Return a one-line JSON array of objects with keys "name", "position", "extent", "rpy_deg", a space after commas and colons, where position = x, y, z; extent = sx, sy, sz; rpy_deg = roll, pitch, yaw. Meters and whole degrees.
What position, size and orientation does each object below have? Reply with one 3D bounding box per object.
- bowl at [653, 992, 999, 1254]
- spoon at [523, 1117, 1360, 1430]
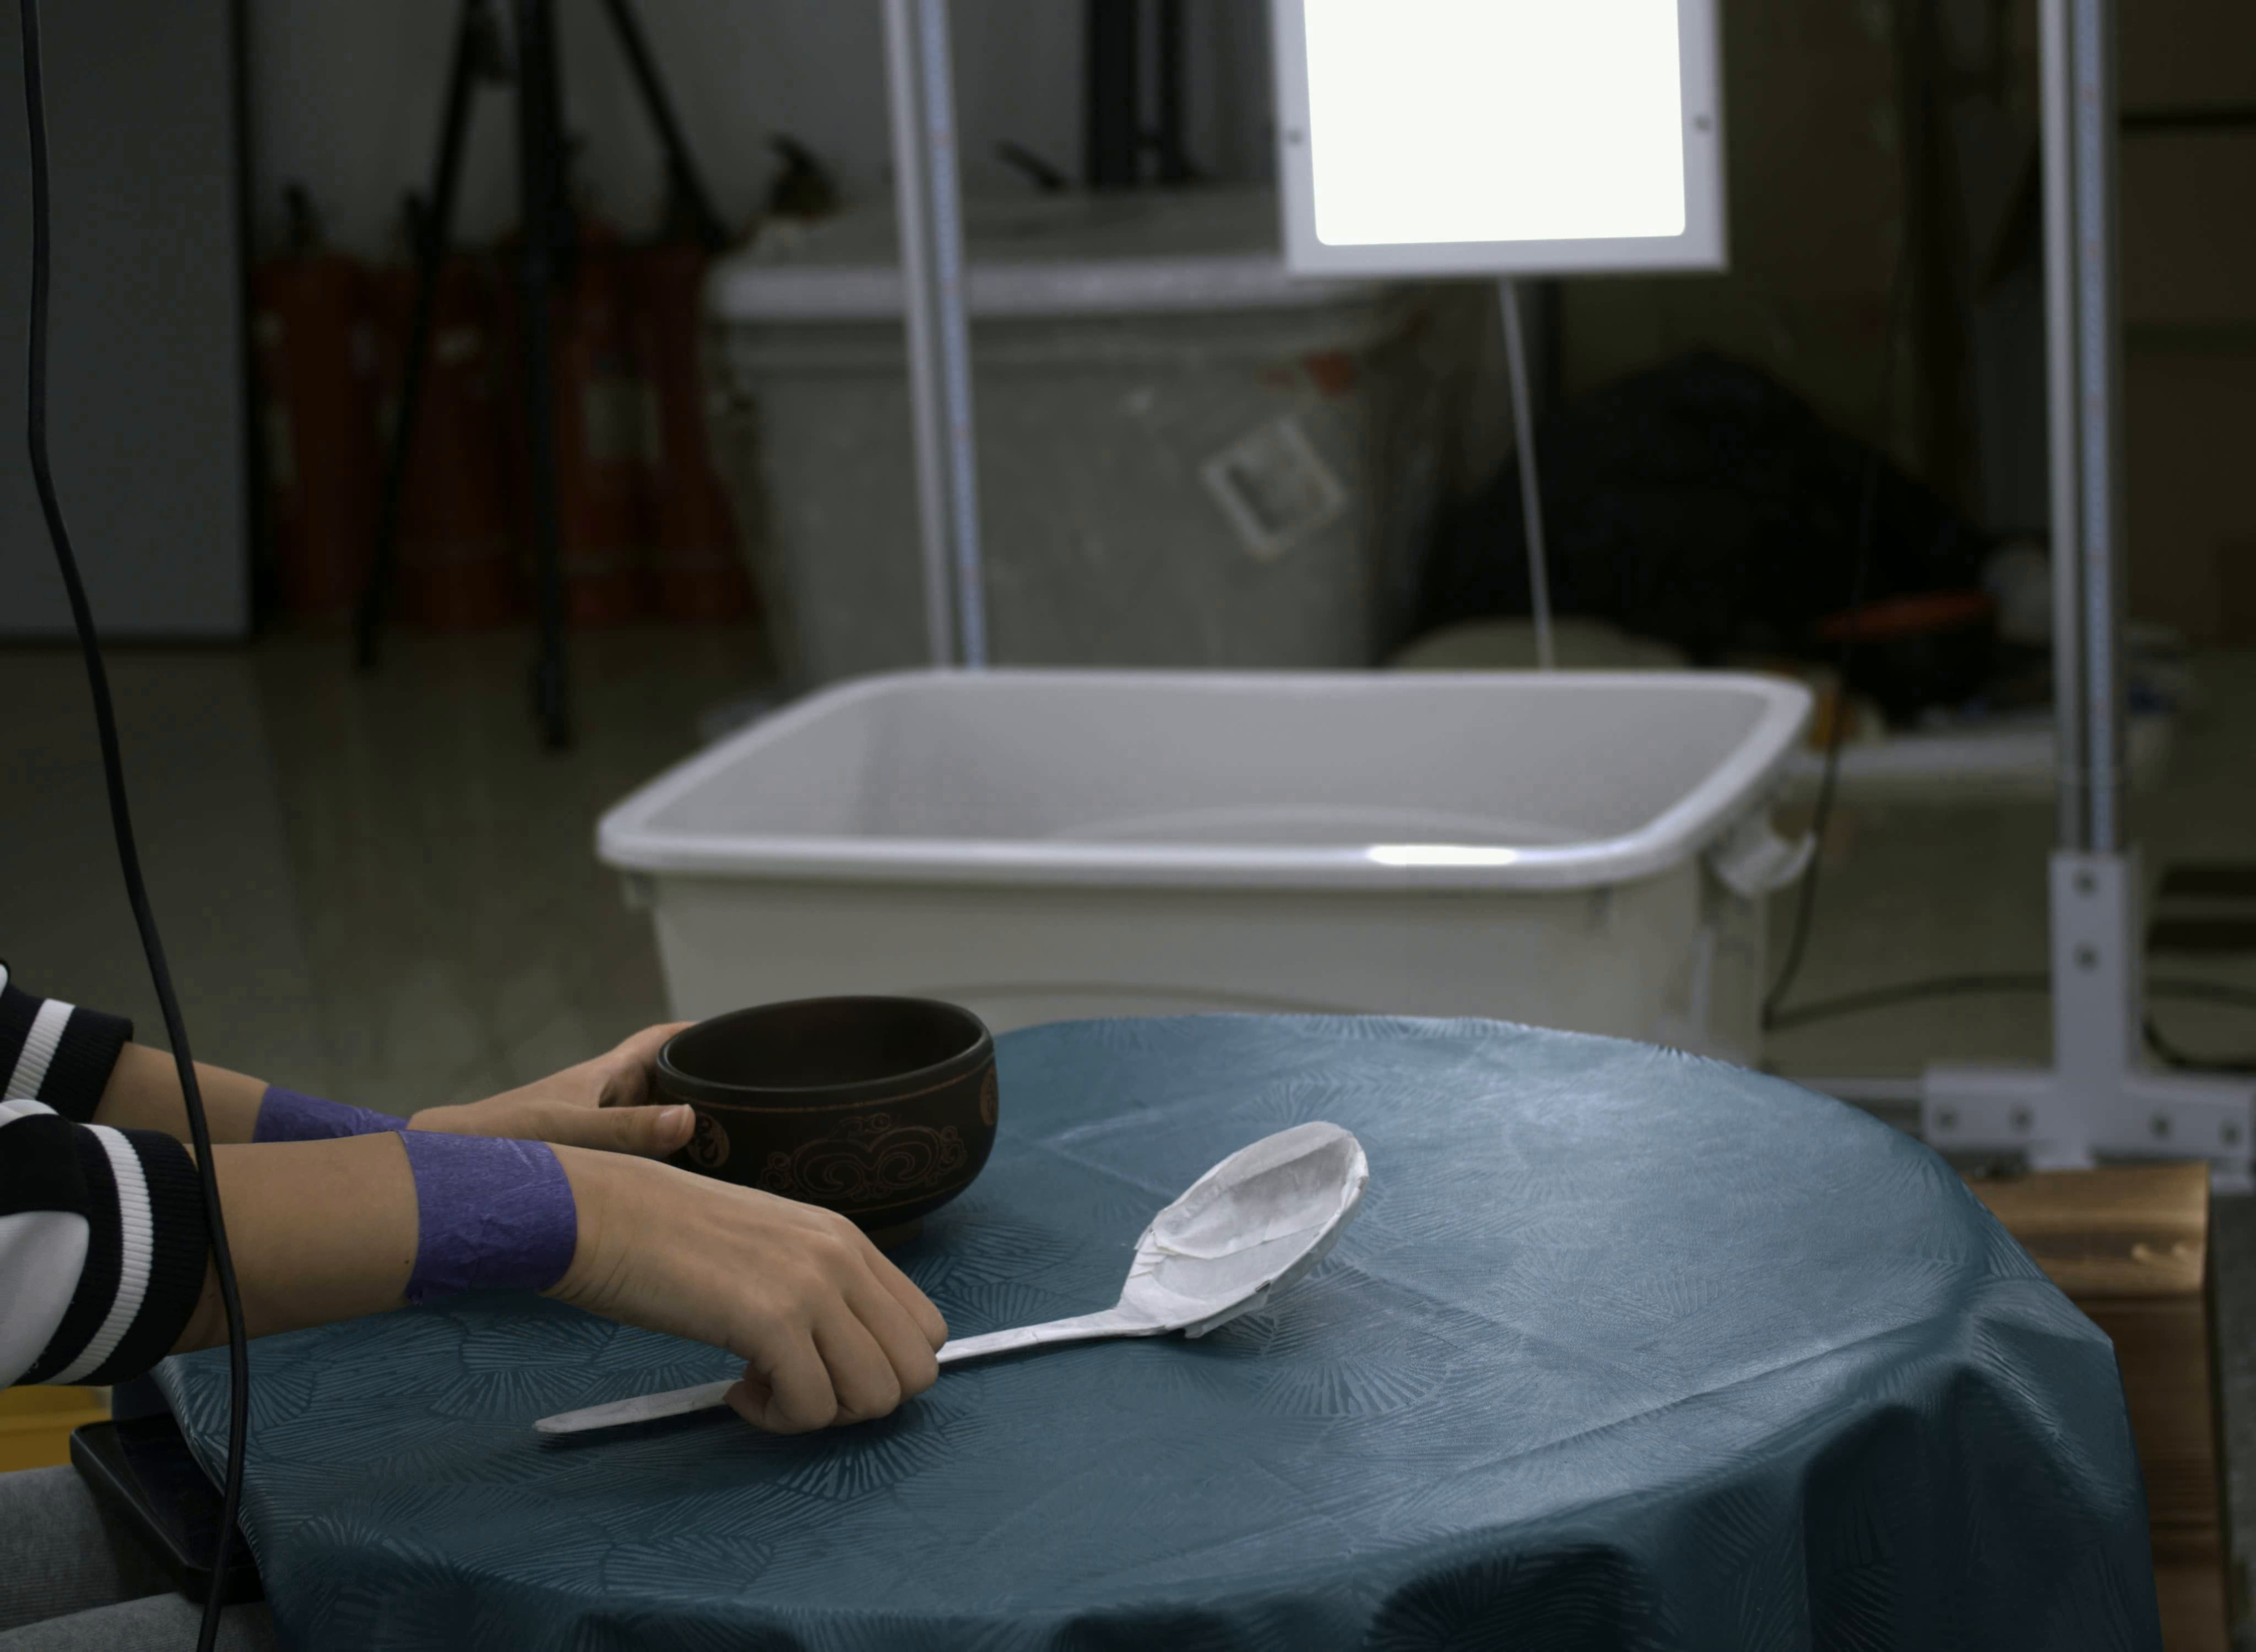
[{"name": "bowl", "position": [-0.101, 0.104, 1.873], "extent": [0.118, 0.070, 0.118], "rpy_deg": [-5, 13, 0]}, {"name": "spoon", "position": [-0.059, 0.140, 1.742], "extent": [0.273, 0.059, 0.102], "rpy_deg": [-8, 10, -14]}]
